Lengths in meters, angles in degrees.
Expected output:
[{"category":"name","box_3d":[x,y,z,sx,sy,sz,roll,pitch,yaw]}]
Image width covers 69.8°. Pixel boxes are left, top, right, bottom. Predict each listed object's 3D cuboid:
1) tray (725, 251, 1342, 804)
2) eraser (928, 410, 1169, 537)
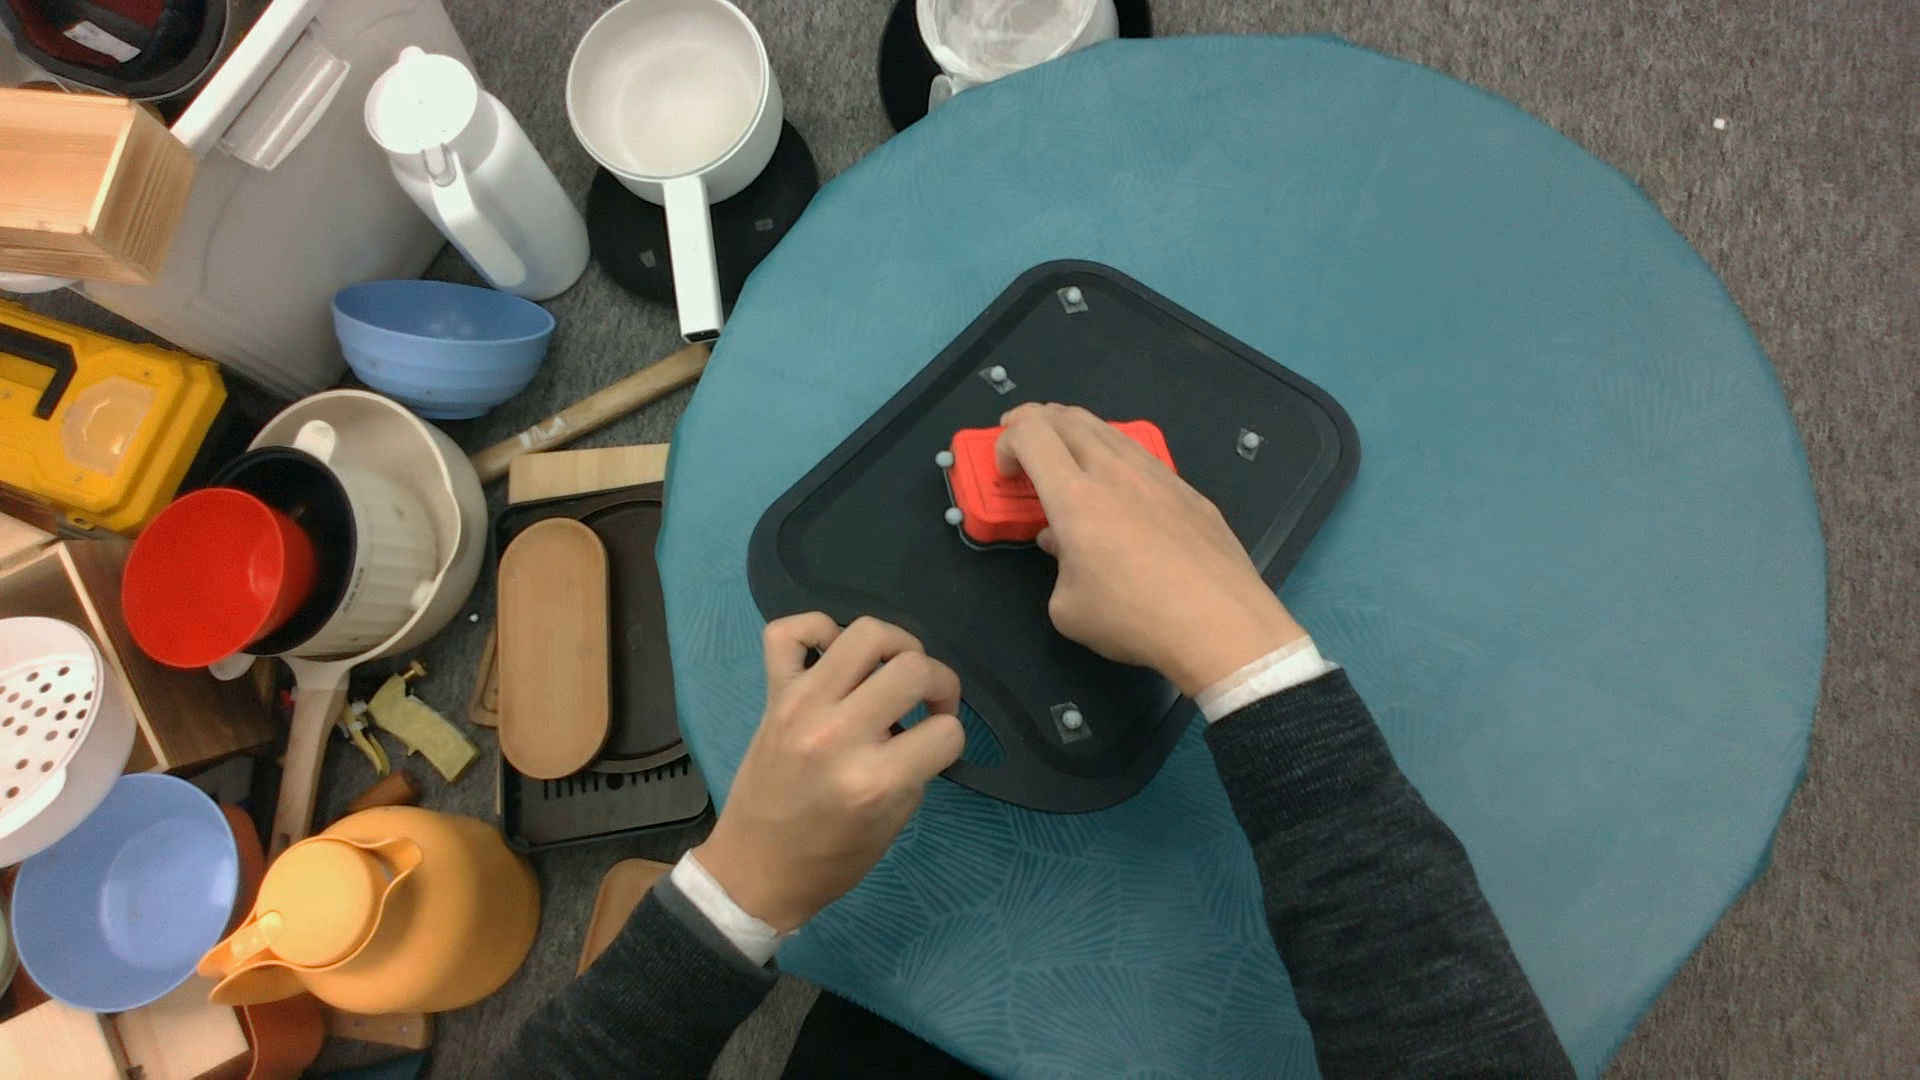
[{"category":"tray","box_3d":[0.044,-0.022,0.659,0.211,0.010,0.327,34,54,12]},{"category":"eraser","box_3d":[0.042,-0.032,0.655,0.108,0.023,0.059,-3,57,-17]}]
